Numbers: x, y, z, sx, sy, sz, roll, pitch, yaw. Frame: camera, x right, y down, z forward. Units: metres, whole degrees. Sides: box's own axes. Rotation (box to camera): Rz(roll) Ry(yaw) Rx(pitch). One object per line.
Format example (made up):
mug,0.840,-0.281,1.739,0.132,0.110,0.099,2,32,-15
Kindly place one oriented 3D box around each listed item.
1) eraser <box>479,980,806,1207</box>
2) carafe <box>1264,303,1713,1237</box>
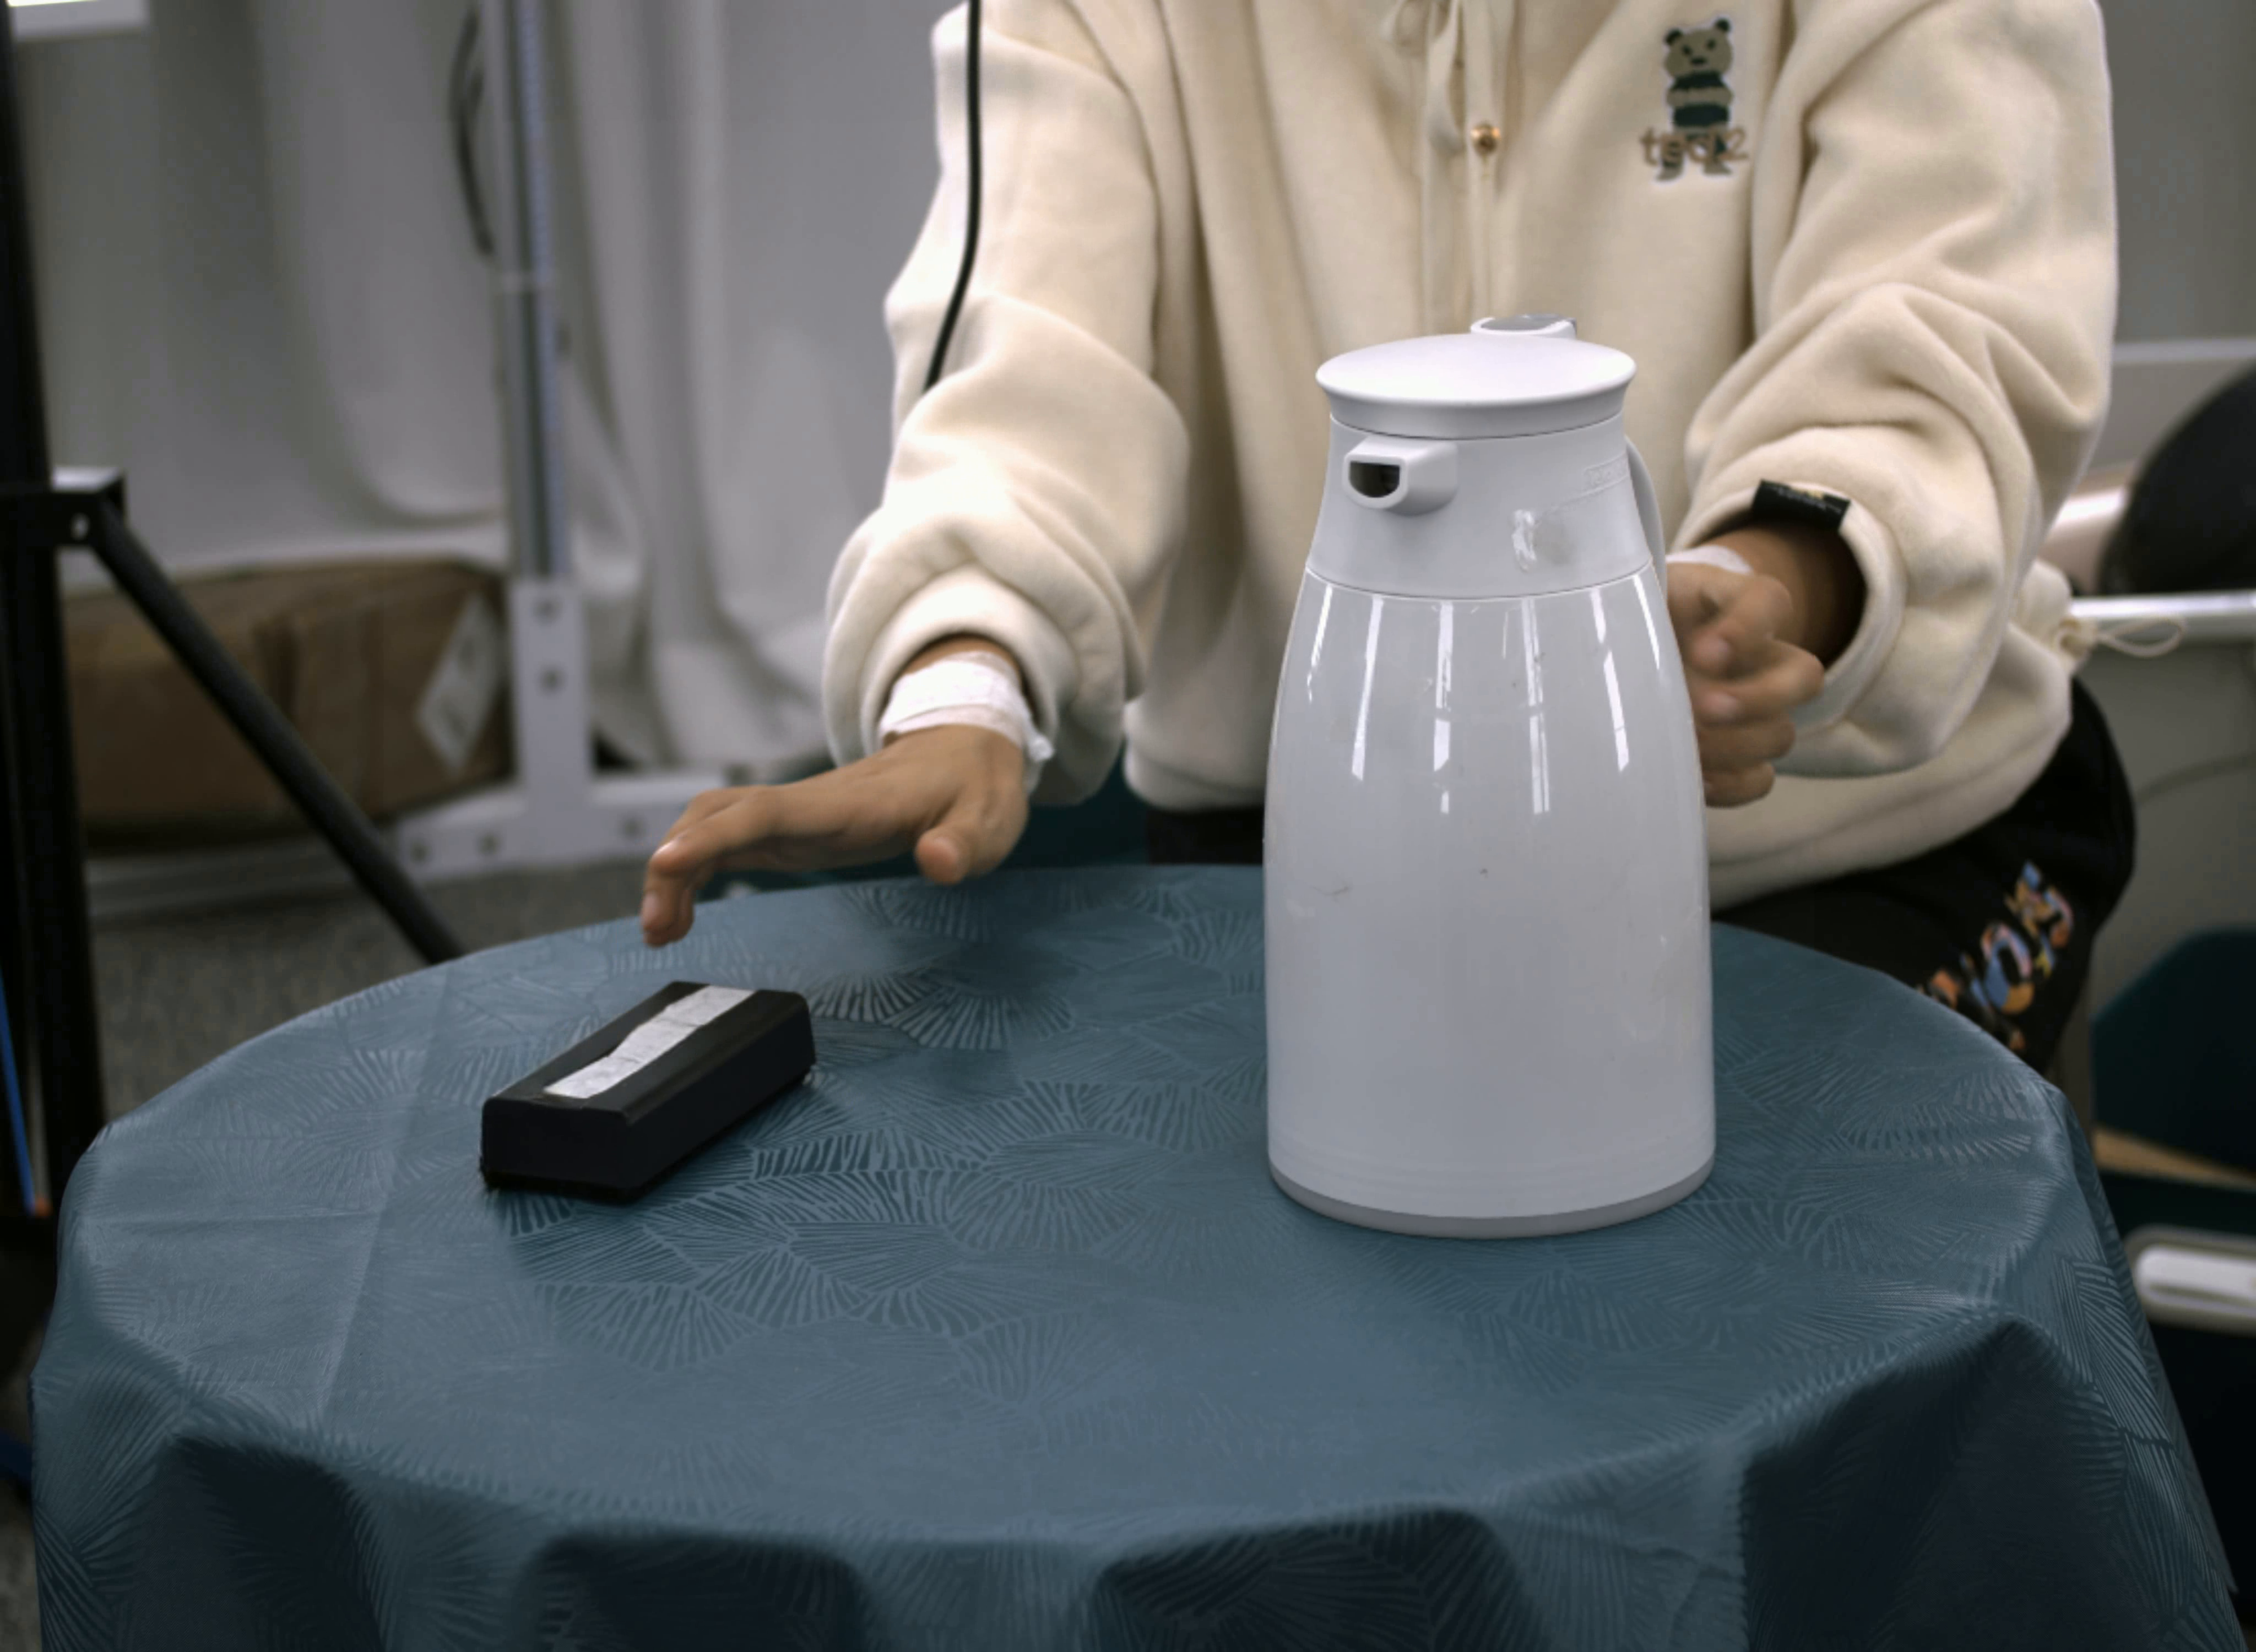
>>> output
eraser,-0.146,0.081,1.626,0.054,0.030,0.124,6,18,20
carafe,0.112,-0.024,1.550,0.135,0.248,0.164,7,17,30
